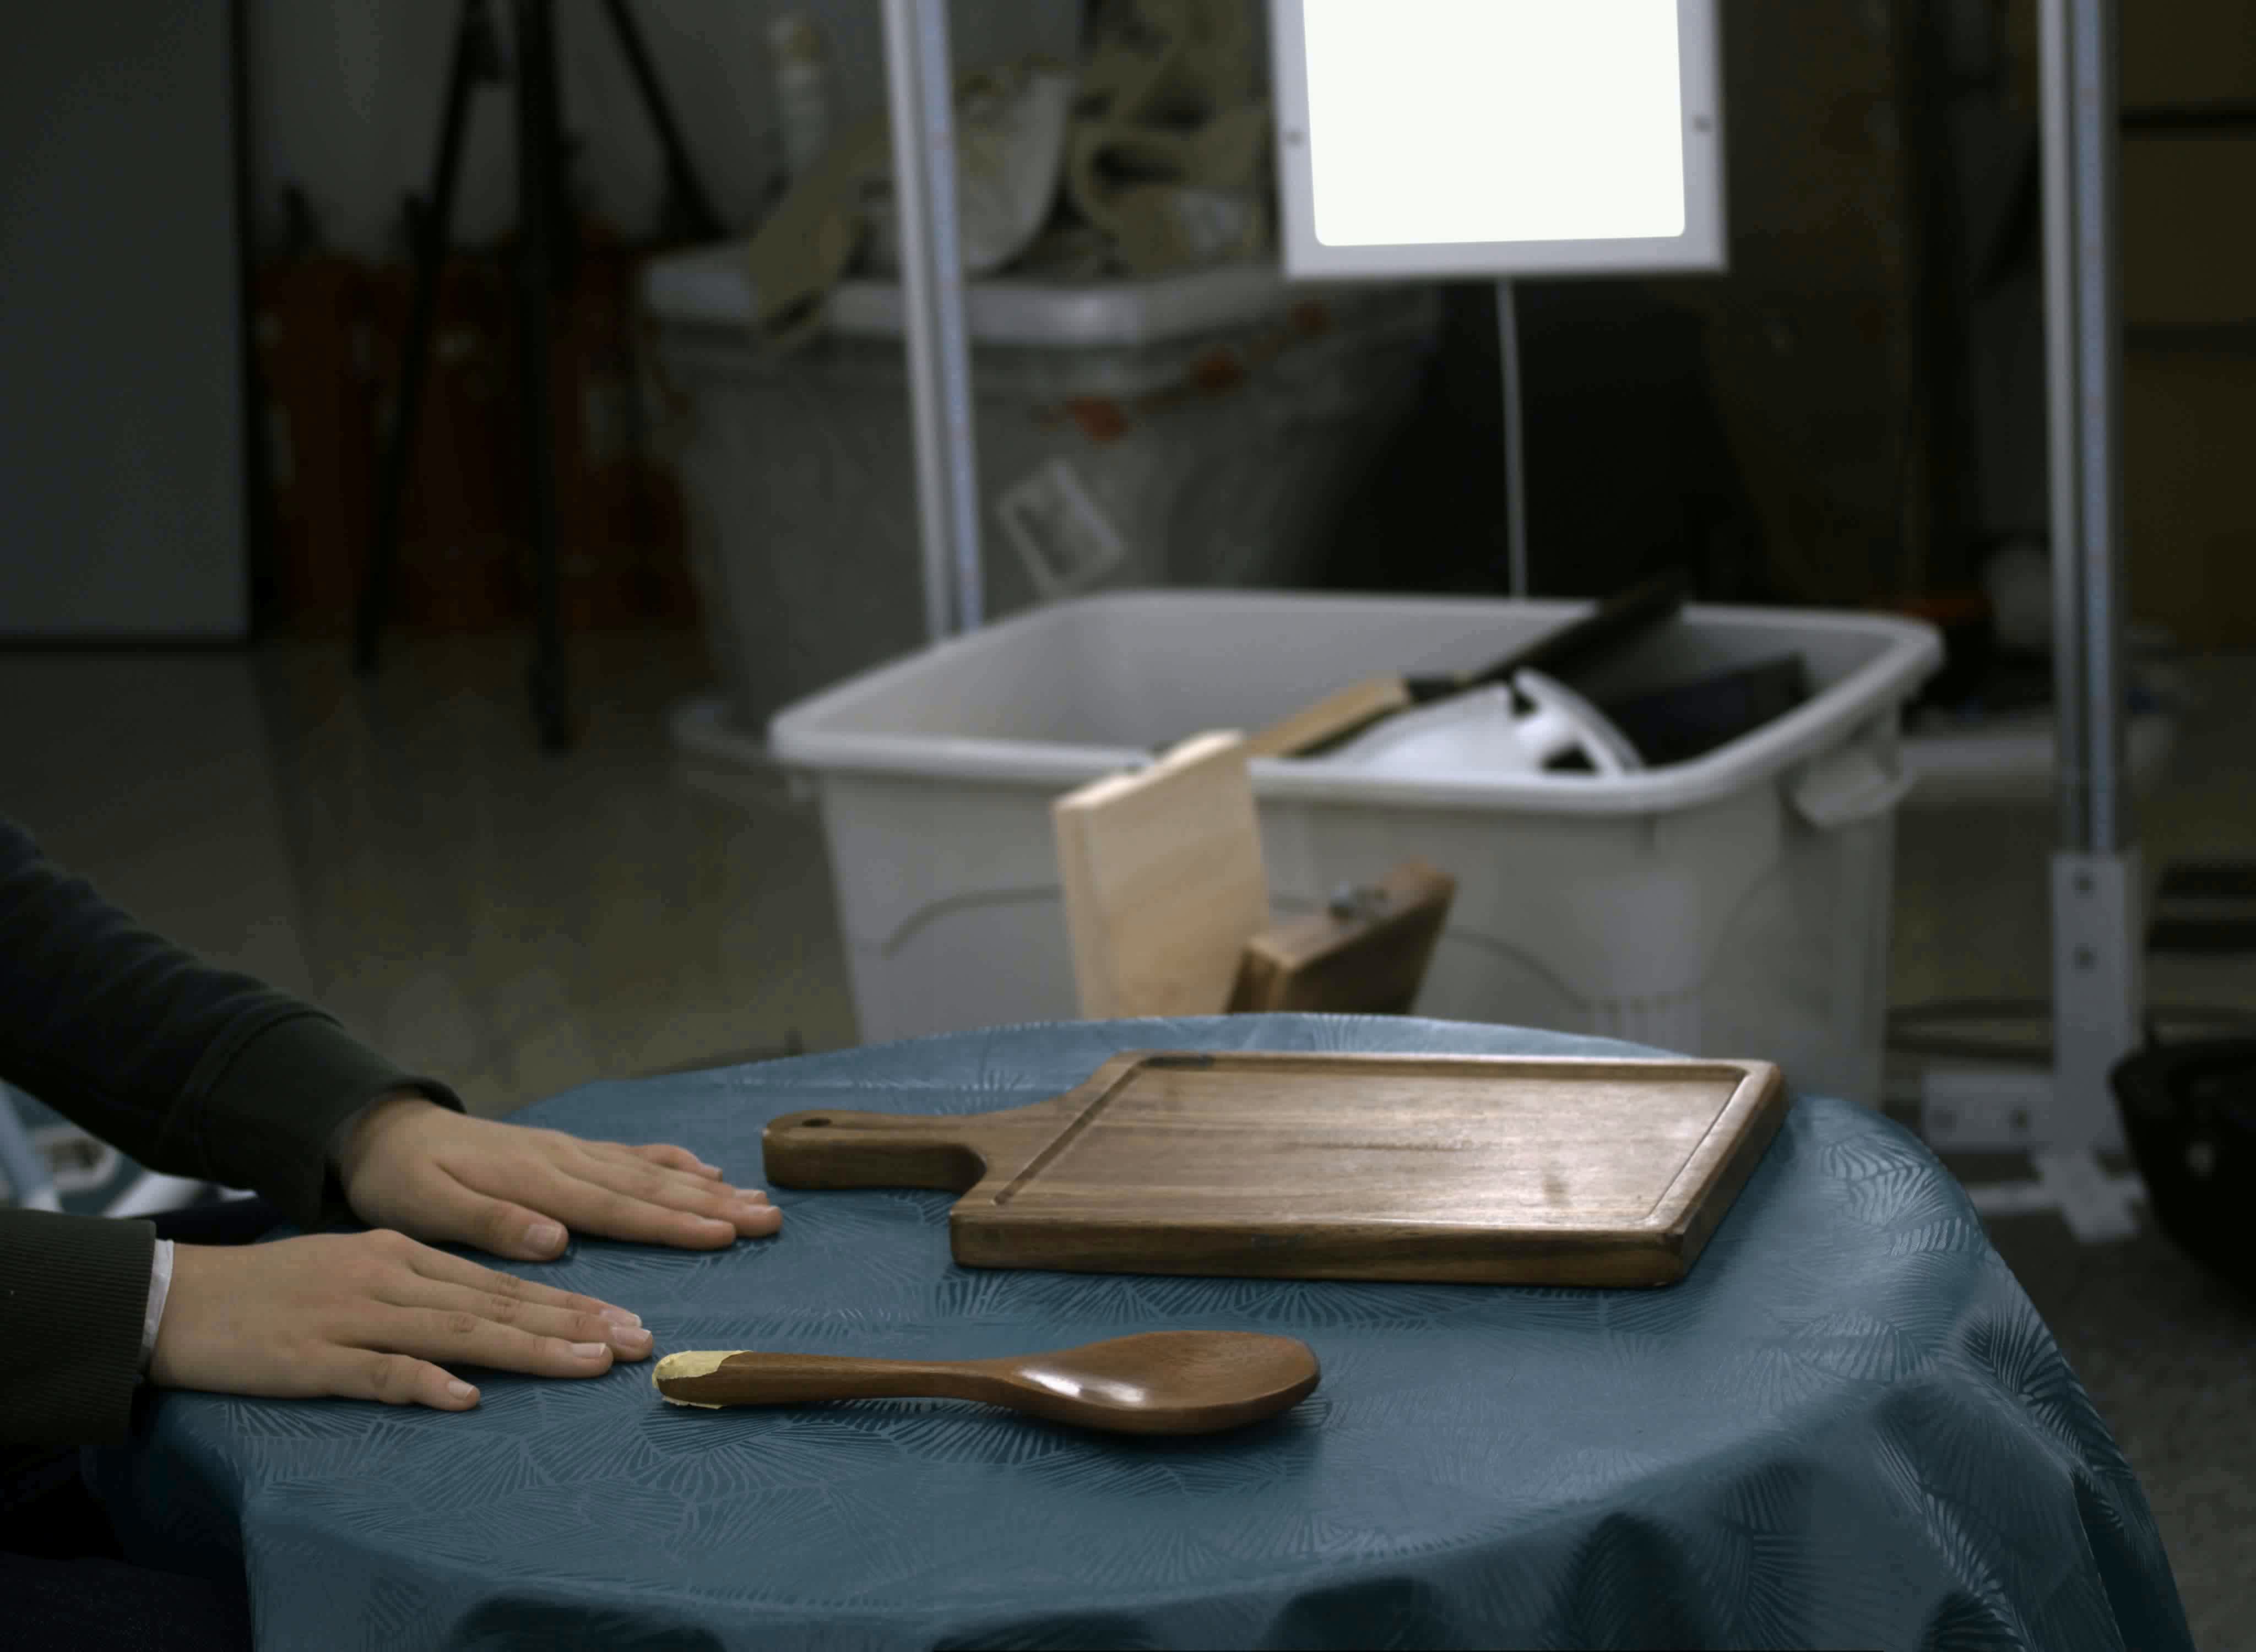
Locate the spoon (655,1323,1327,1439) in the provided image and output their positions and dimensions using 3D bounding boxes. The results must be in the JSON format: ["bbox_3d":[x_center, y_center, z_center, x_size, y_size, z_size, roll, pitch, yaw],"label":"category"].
[{"bbox_3d":[-0.043,0.170,1.695,0.218,0.017,0.074,1,17,19],"label":"spoon"}]

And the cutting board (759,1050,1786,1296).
[{"bbox_3d":[0.039,0.115,1.892,0.357,0.023,0.197,0,15,20],"label":"cutting board"}]
